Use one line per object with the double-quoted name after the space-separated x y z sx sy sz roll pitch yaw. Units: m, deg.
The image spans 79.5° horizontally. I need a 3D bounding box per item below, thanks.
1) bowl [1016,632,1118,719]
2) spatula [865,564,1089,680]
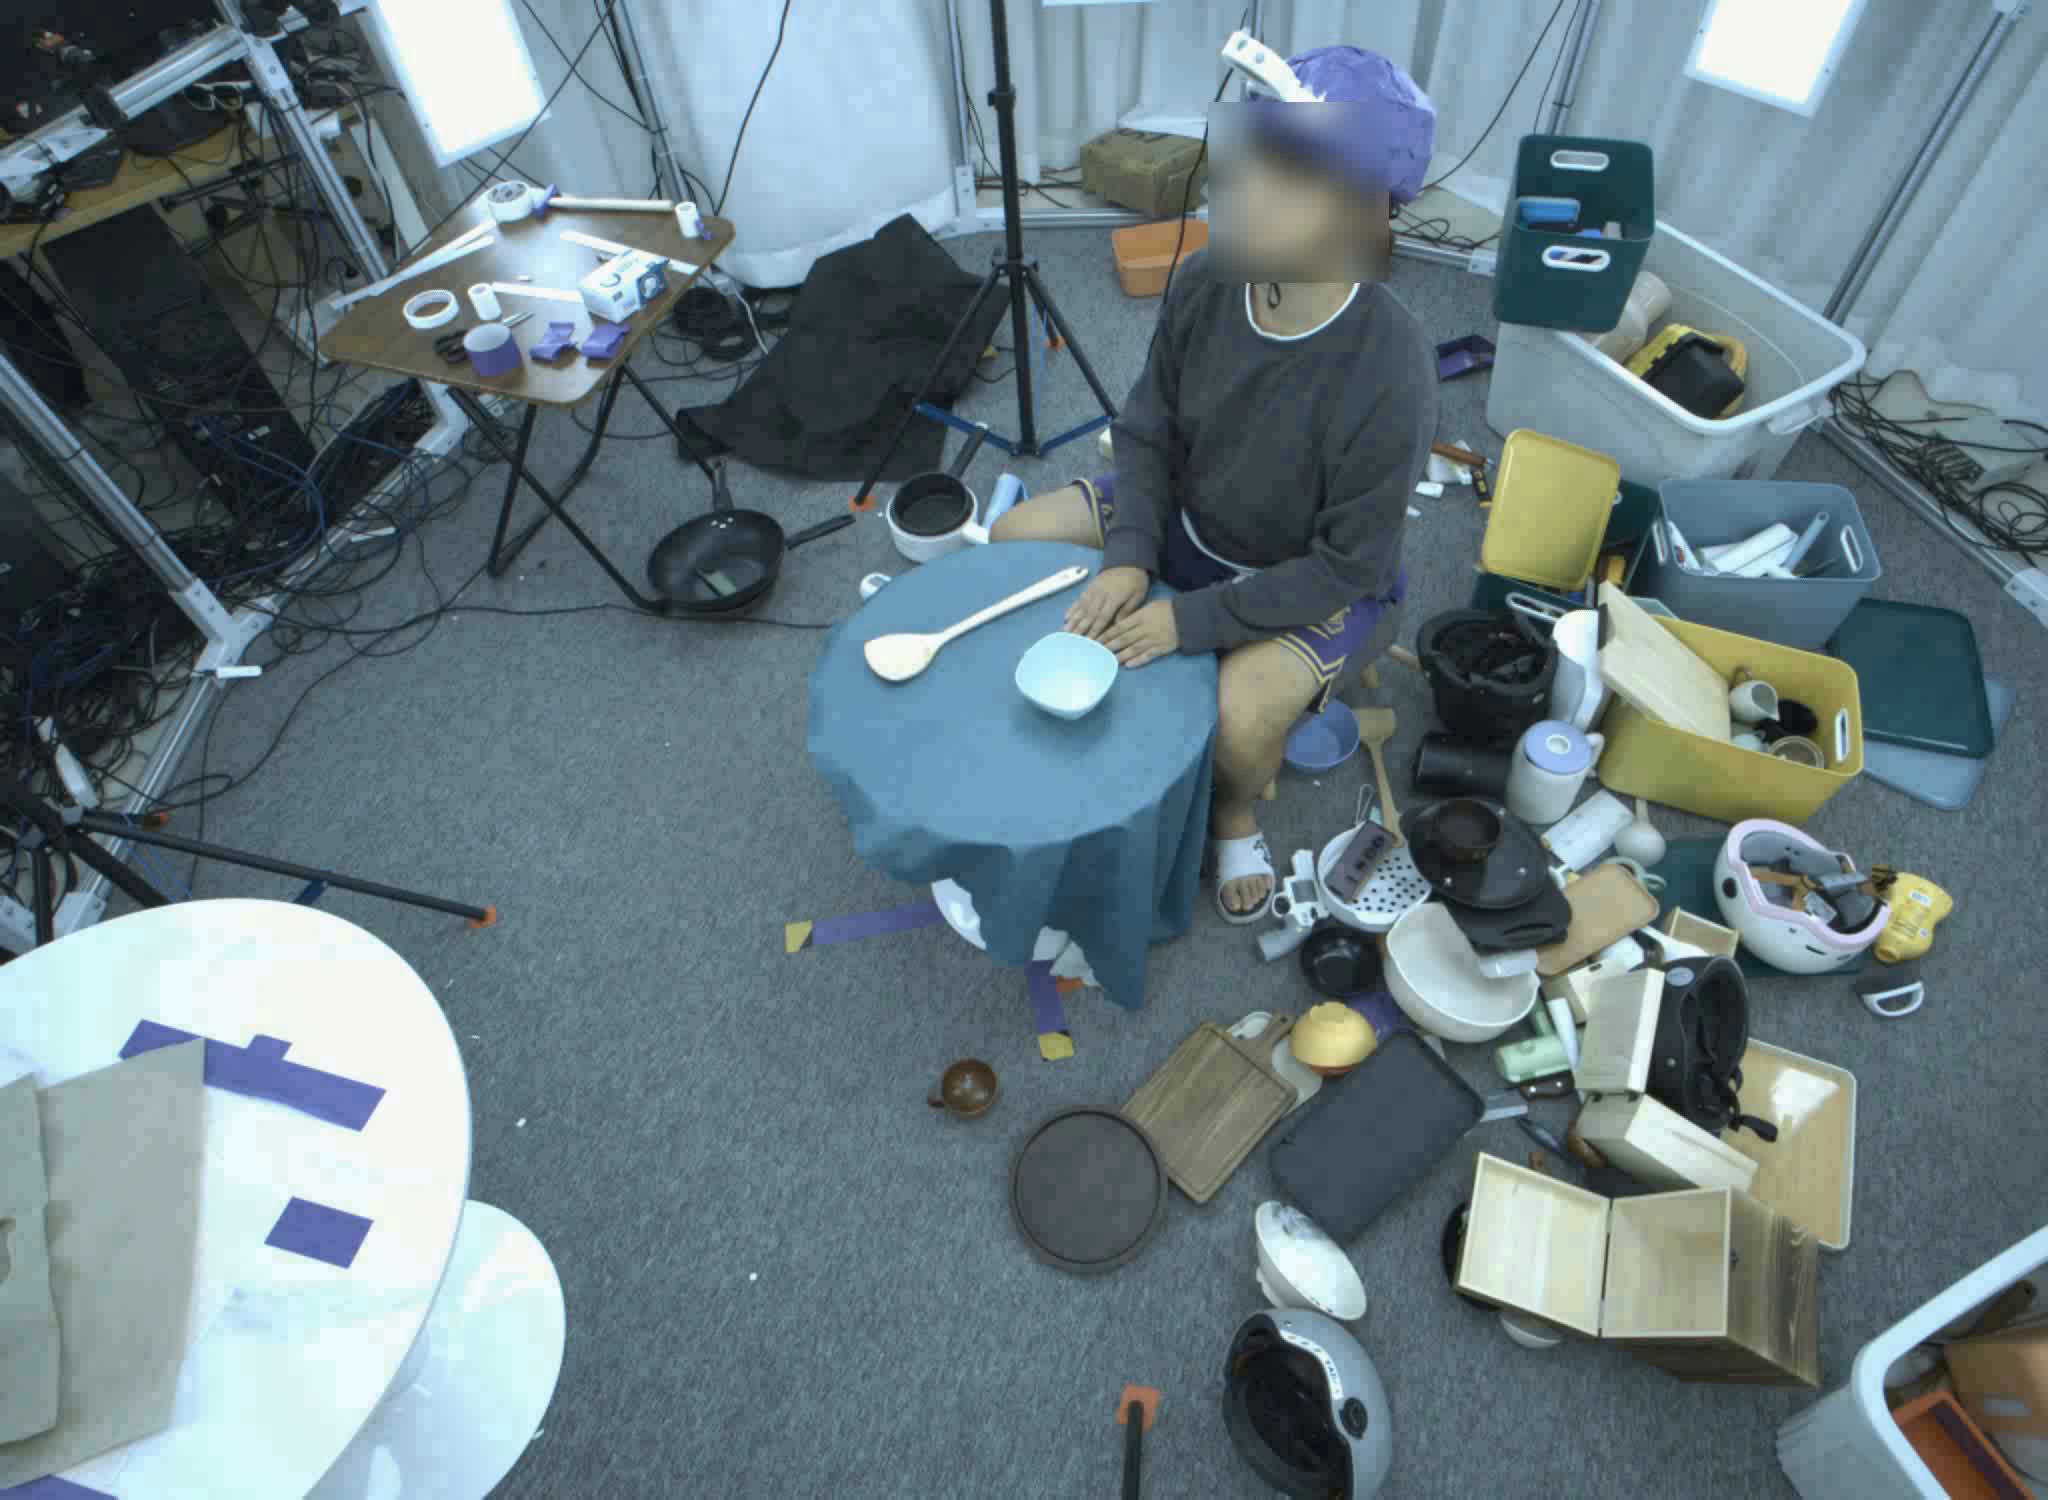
0.065 -0.100 1.826 0.151 0.059 0.150 -1 56 3 "bowl"
-0.068 -0.214 1.934 0.394 0.018 0.094 -28 60 -16 "spatula"
